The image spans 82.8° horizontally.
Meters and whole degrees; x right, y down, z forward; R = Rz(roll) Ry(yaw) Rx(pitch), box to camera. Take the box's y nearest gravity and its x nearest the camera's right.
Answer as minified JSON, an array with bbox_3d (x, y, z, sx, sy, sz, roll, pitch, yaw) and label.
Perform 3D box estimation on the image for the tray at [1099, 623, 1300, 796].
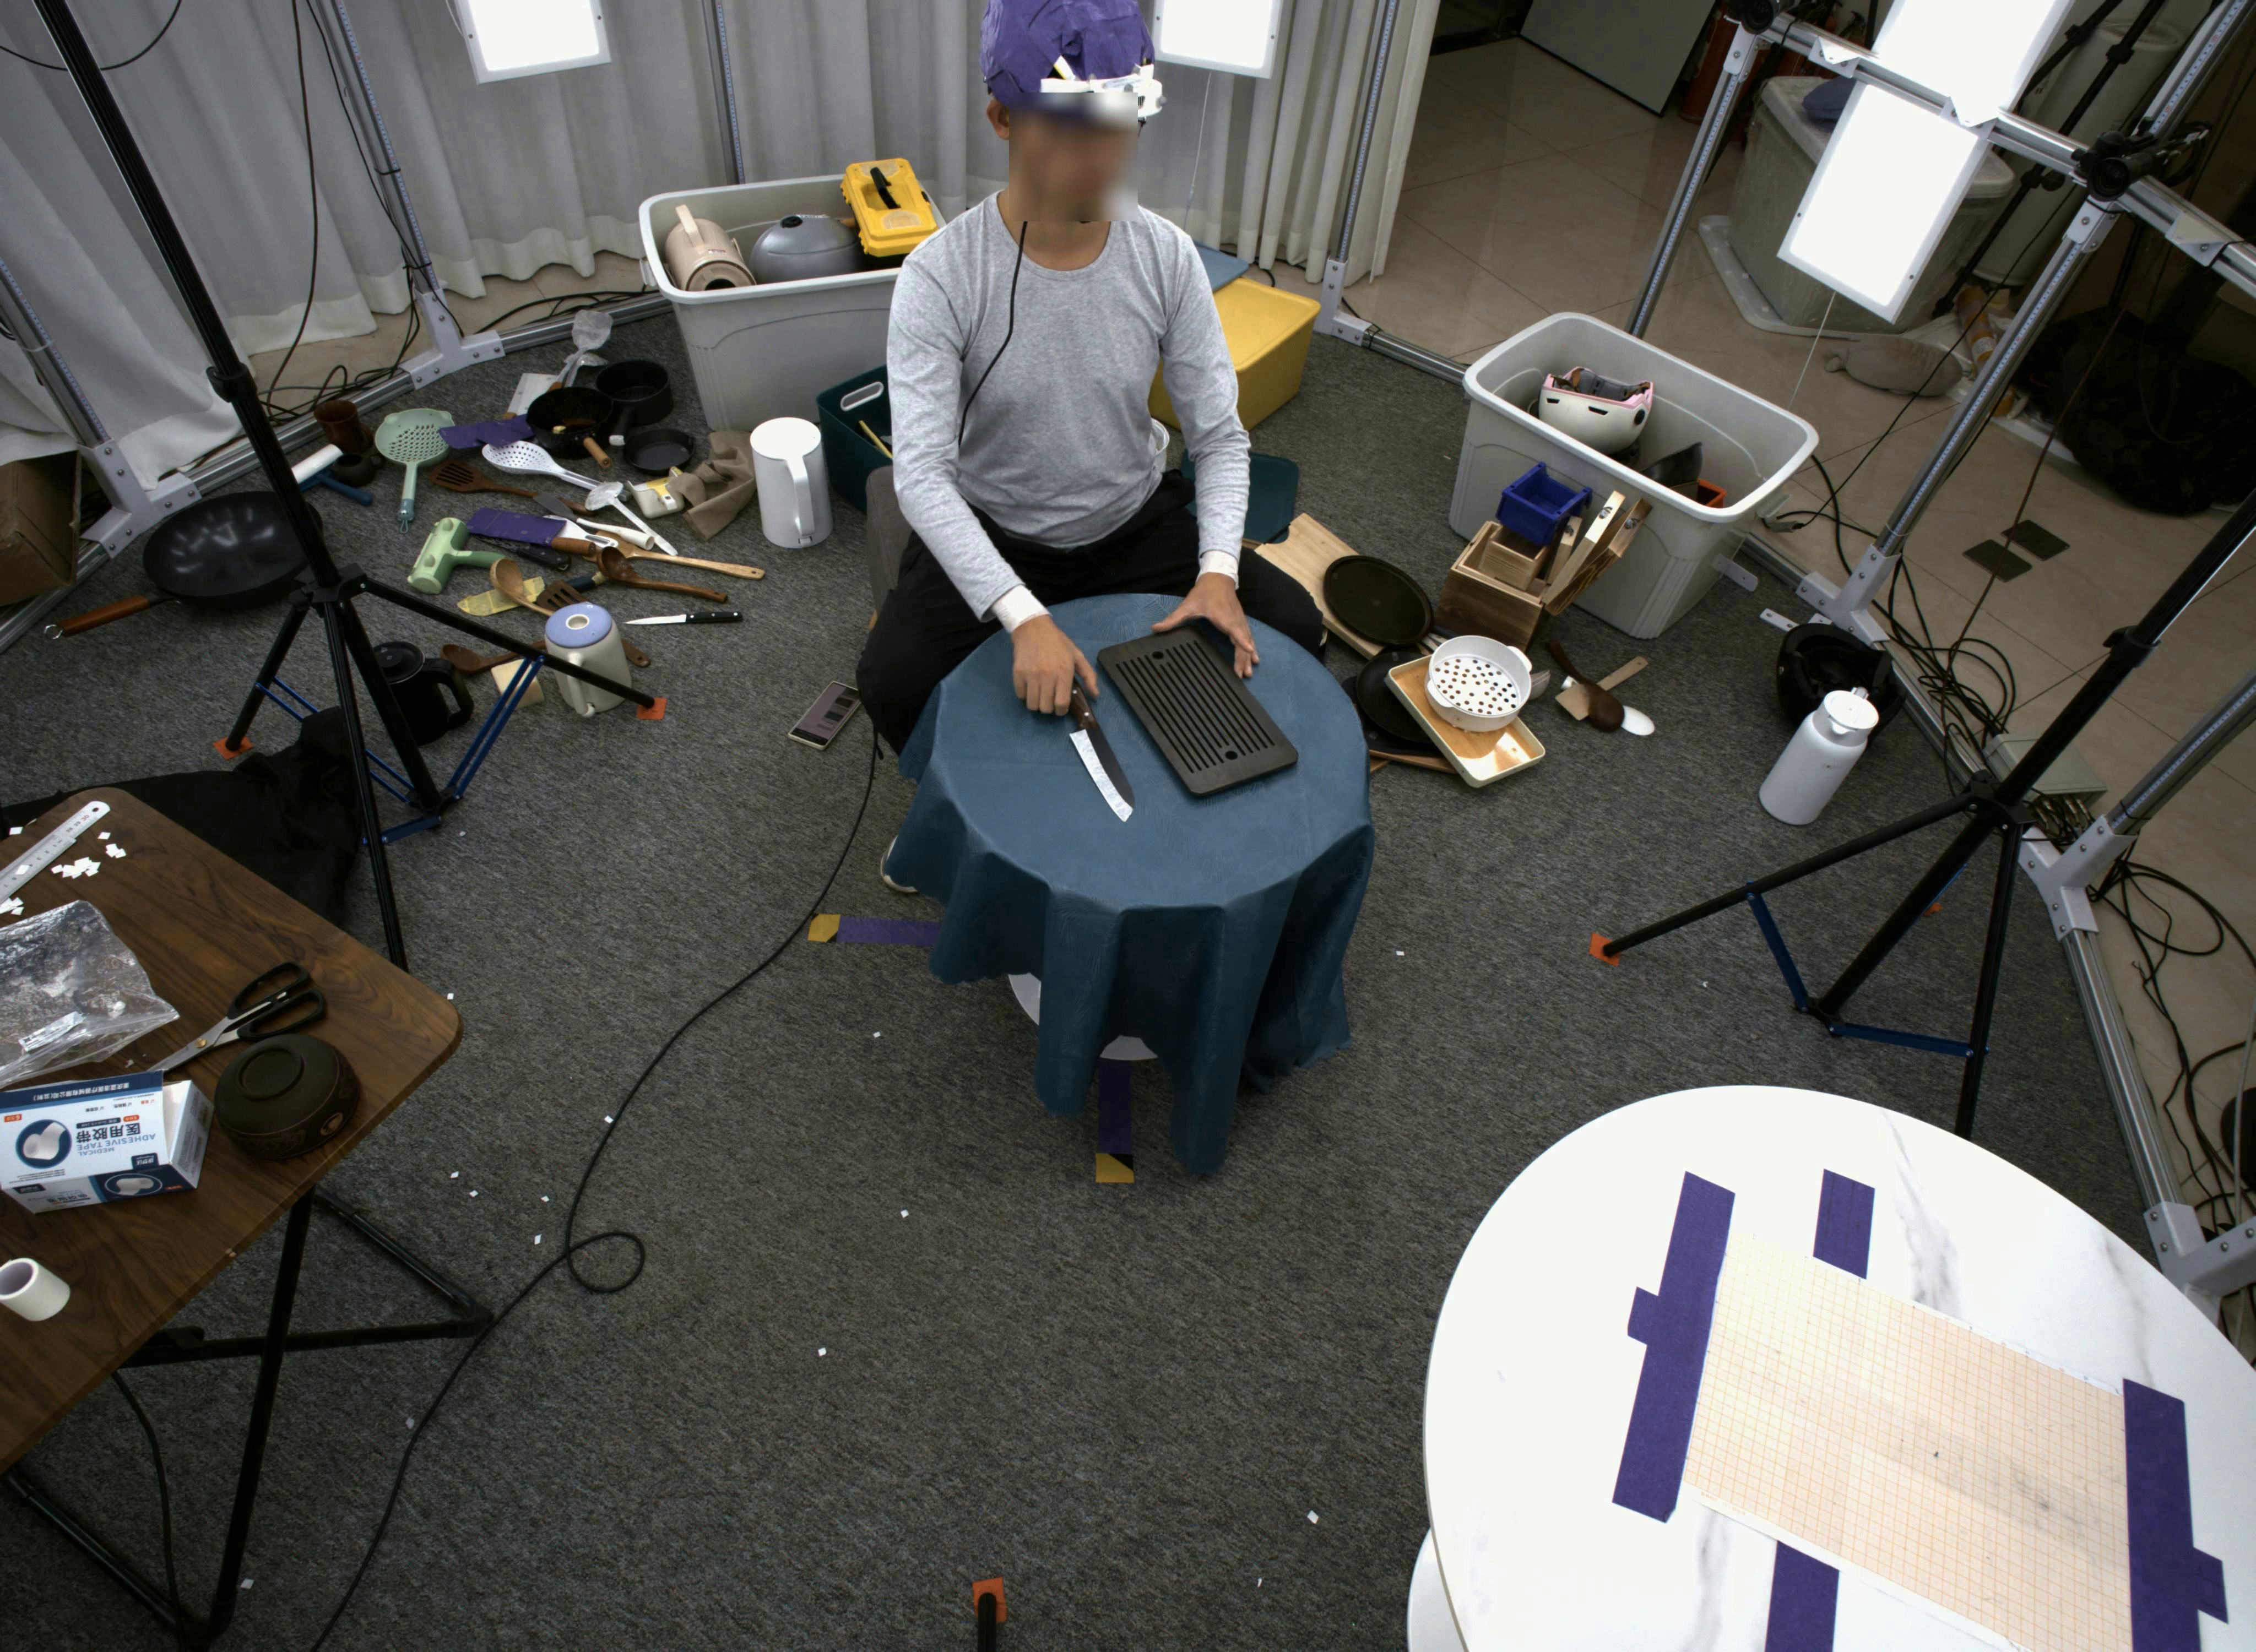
[{"bbox_3d":[0.096,-0.169,1.809,0.170,0.018,0.313,-19,52,-18],"label":"tray"}]

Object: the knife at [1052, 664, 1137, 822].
[{"bbox_3d":[-0.049,-0.116,1.755,0.050,0.019,0.296,-16,54,-11],"label":"knife"}]
